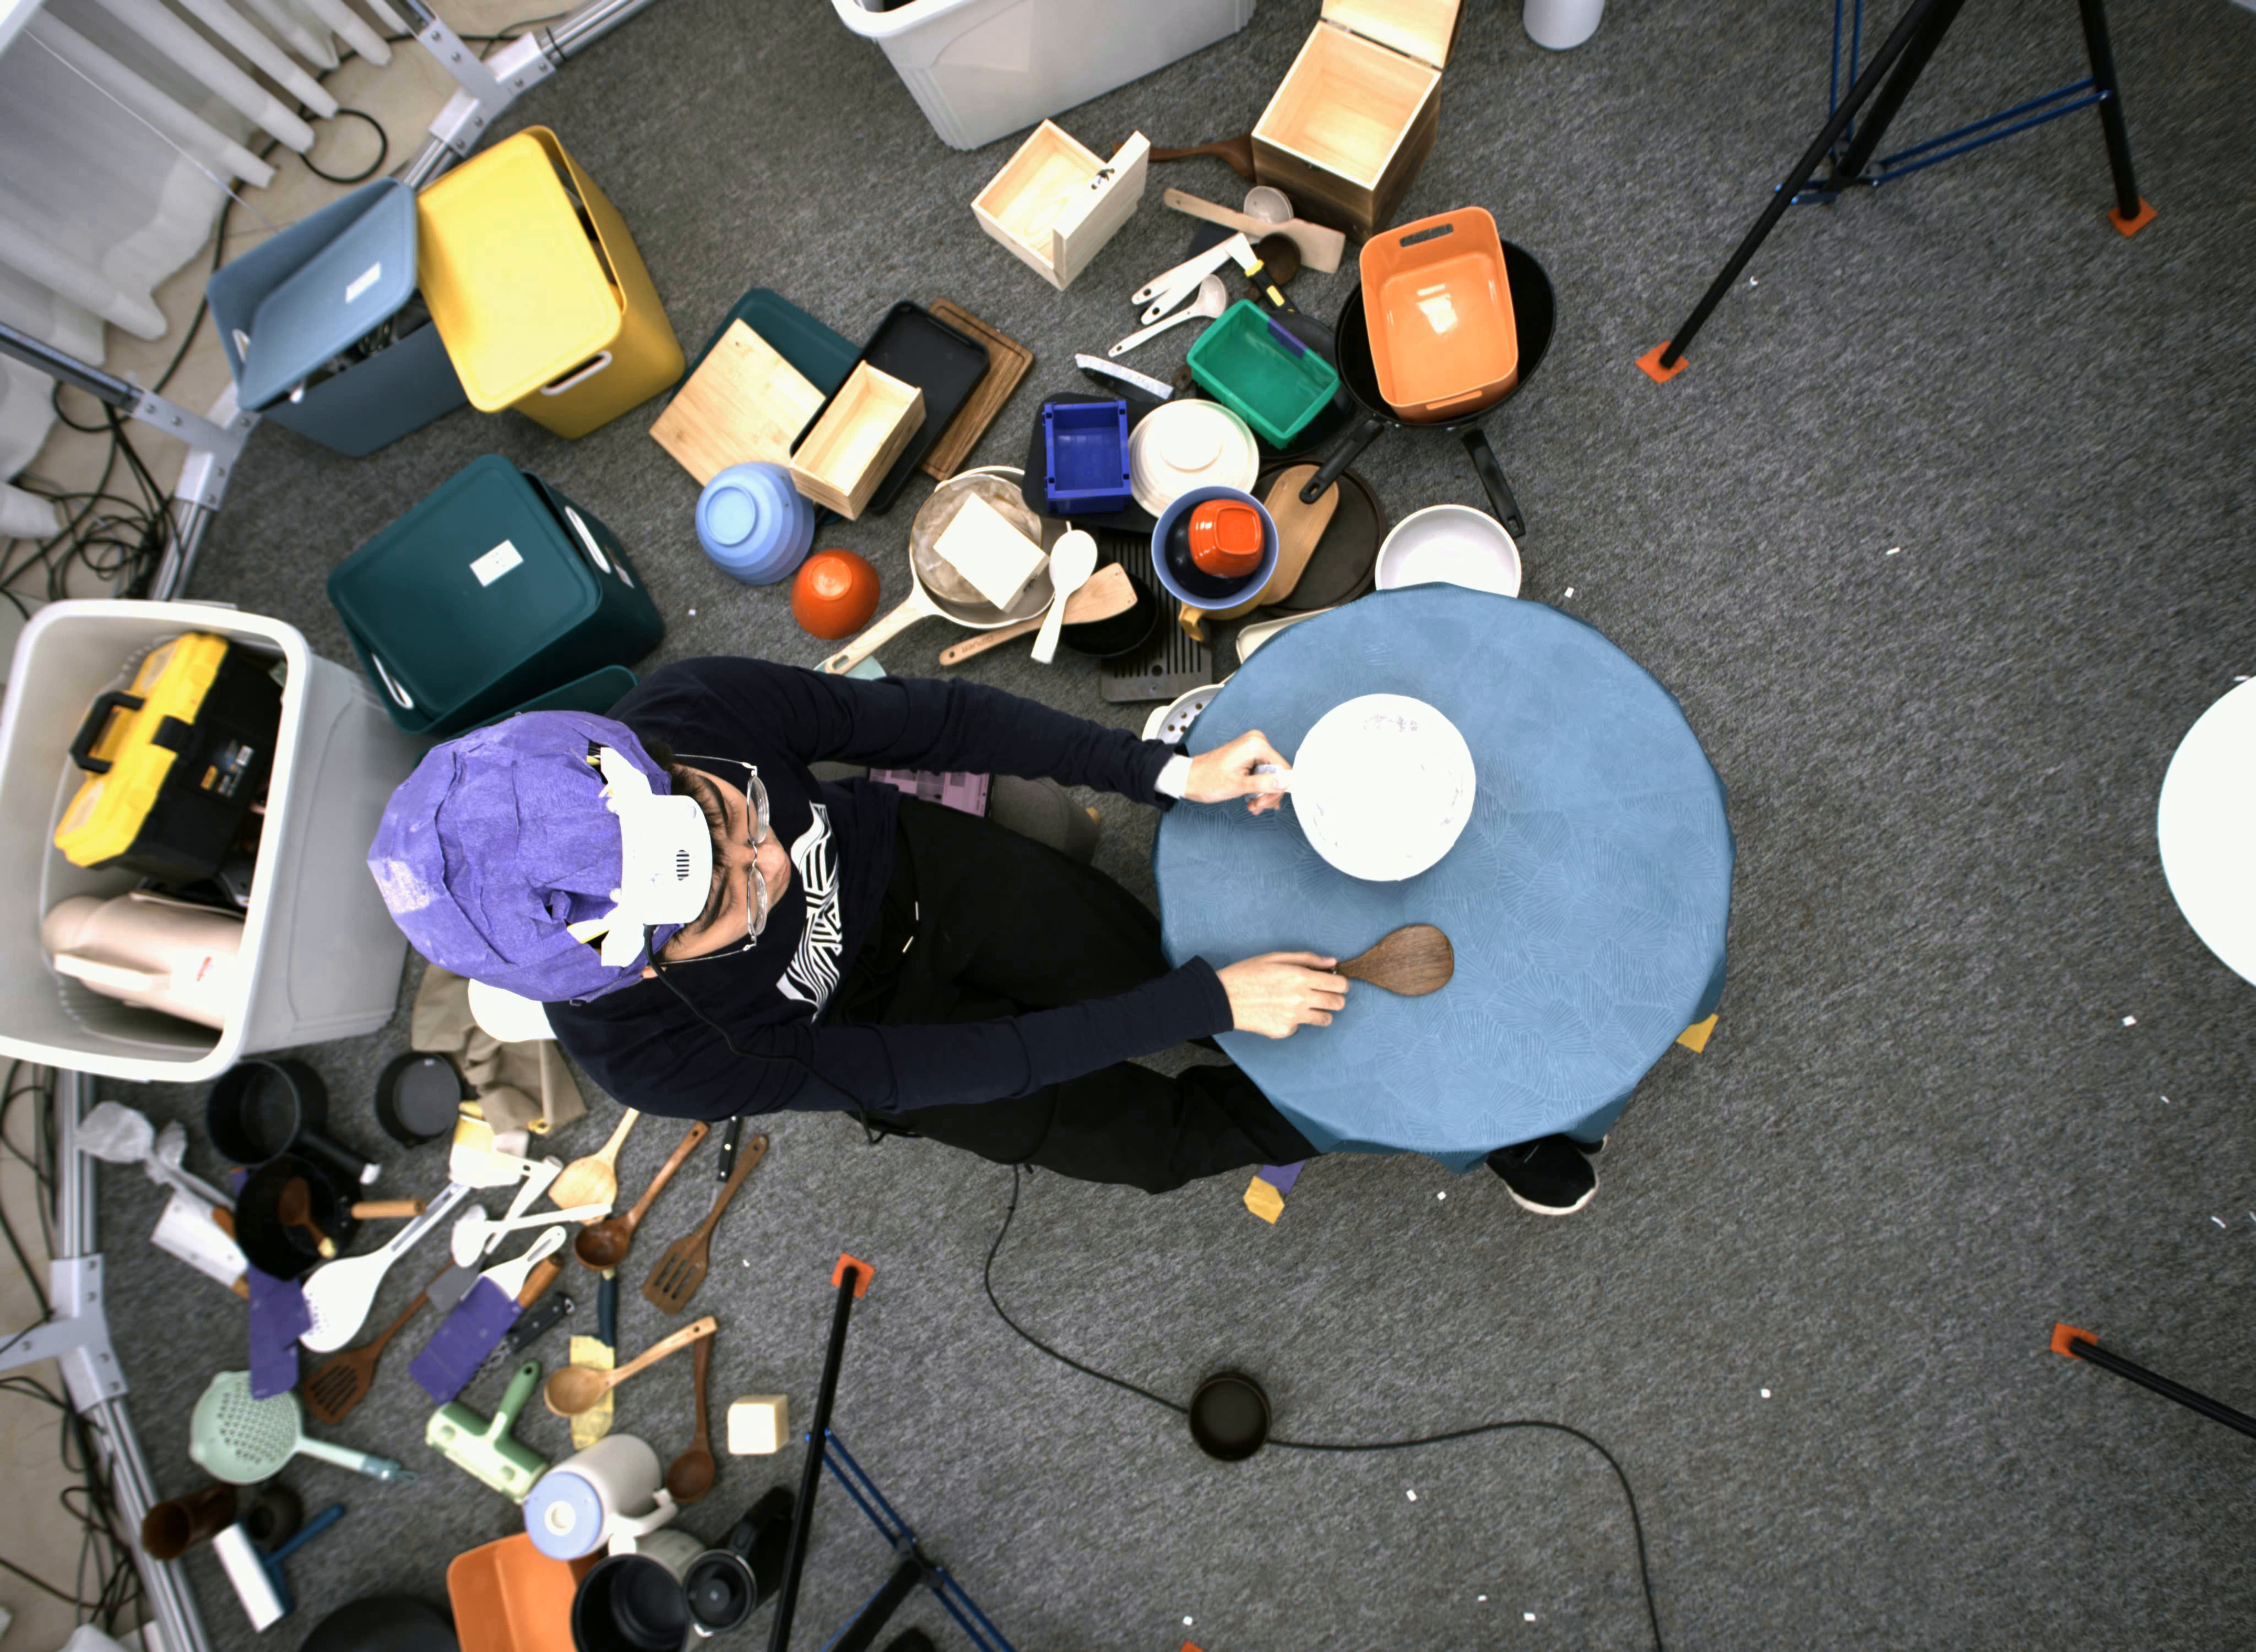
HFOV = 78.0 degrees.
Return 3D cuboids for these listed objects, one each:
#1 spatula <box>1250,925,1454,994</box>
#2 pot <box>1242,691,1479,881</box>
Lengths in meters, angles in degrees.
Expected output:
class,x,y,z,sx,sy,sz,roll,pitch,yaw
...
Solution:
class,x,y,z,sx,sy,sz,roll,pitch,yaw
spatula,0.235,0.148,1.460,0.217,0.009,0.071,-8,84,11
pot,0.231,-0.038,1.402,0.234,0.137,0.177,3,84,9
